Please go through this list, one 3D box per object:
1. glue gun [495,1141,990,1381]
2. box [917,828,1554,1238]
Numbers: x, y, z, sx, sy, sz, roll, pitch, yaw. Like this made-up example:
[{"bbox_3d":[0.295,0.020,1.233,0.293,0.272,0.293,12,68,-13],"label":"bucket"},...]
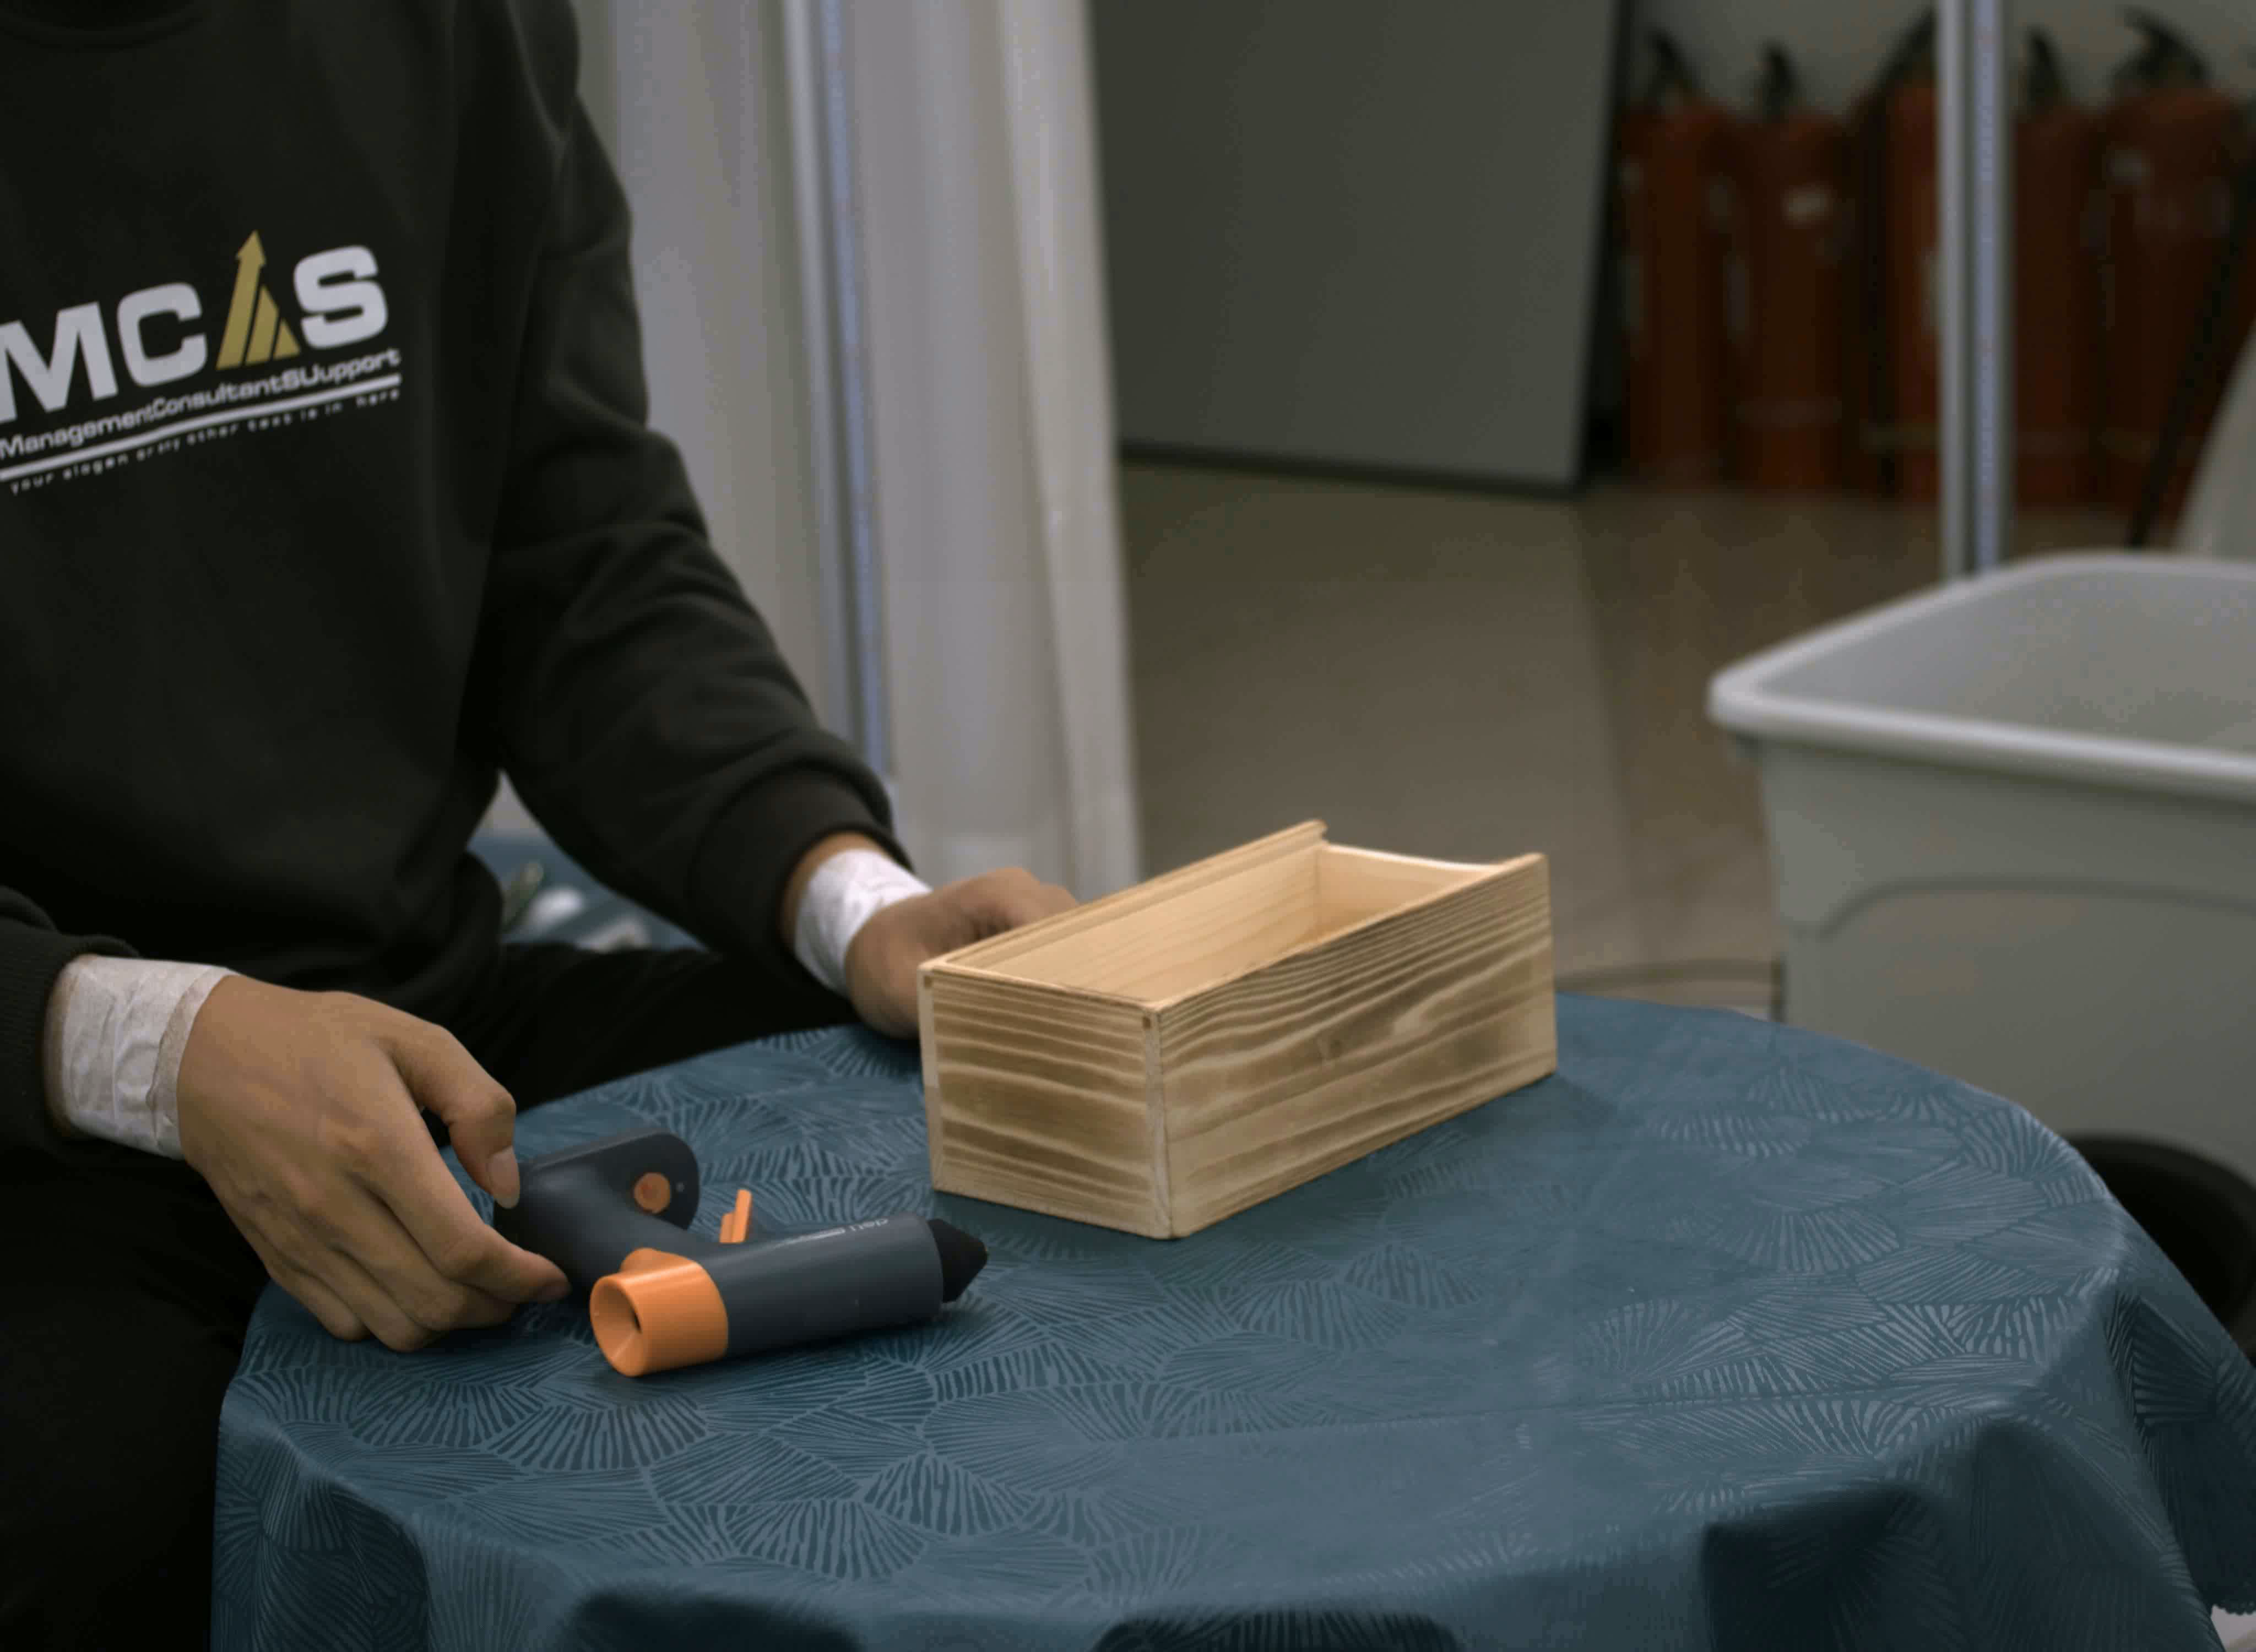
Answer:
[{"bbox_3d":[-0.125,0.137,1.689,0.115,0.041,0.141,-12,18,-37],"label":"glue gun"},{"bbox_3d":[0.039,0.066,1.823,0.108,0.081,0.207,7,18,41],"label":"box"}]
